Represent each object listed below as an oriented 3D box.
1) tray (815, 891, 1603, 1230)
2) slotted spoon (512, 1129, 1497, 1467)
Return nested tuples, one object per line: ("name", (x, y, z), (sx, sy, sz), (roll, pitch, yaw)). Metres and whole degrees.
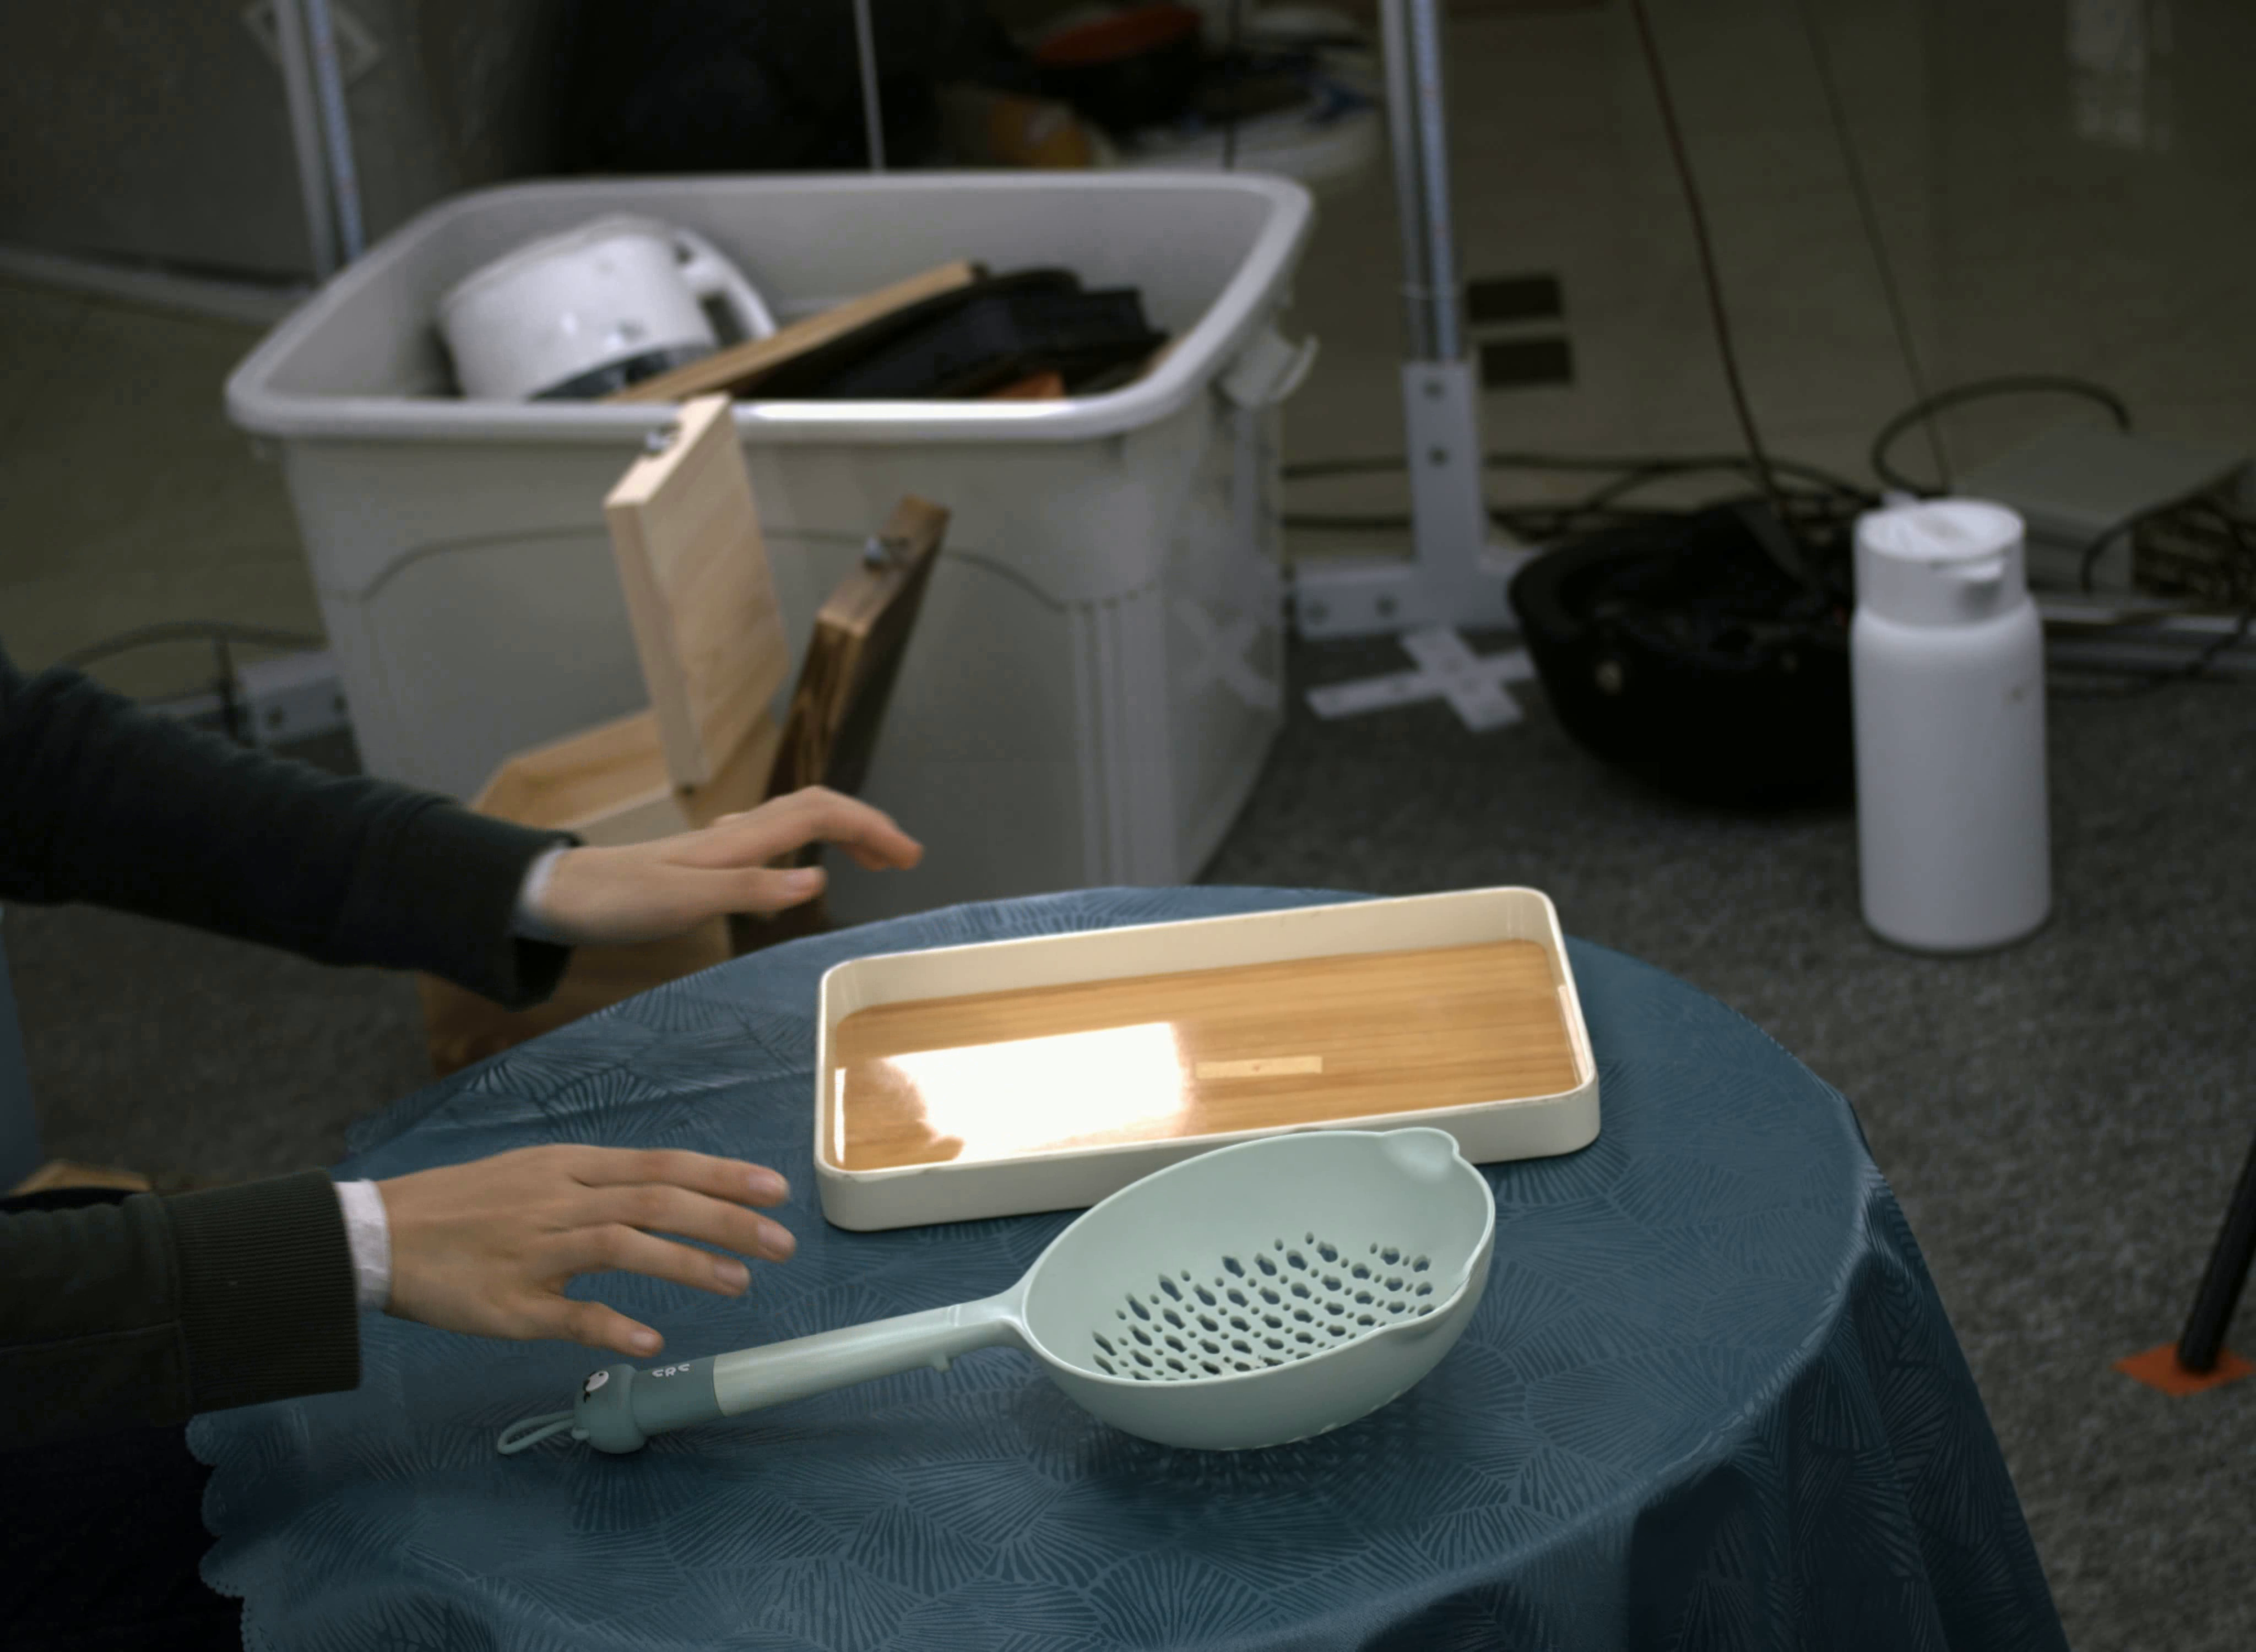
("tray", (0.028, 0.090, 2.220), (0.300, 0.028, 0.189), (-6, 25, 1))
("slotted spoon", (-0.046, 0.181, 1.999), (0.358, 0.076, 0.167), (-4, 24, 5))
